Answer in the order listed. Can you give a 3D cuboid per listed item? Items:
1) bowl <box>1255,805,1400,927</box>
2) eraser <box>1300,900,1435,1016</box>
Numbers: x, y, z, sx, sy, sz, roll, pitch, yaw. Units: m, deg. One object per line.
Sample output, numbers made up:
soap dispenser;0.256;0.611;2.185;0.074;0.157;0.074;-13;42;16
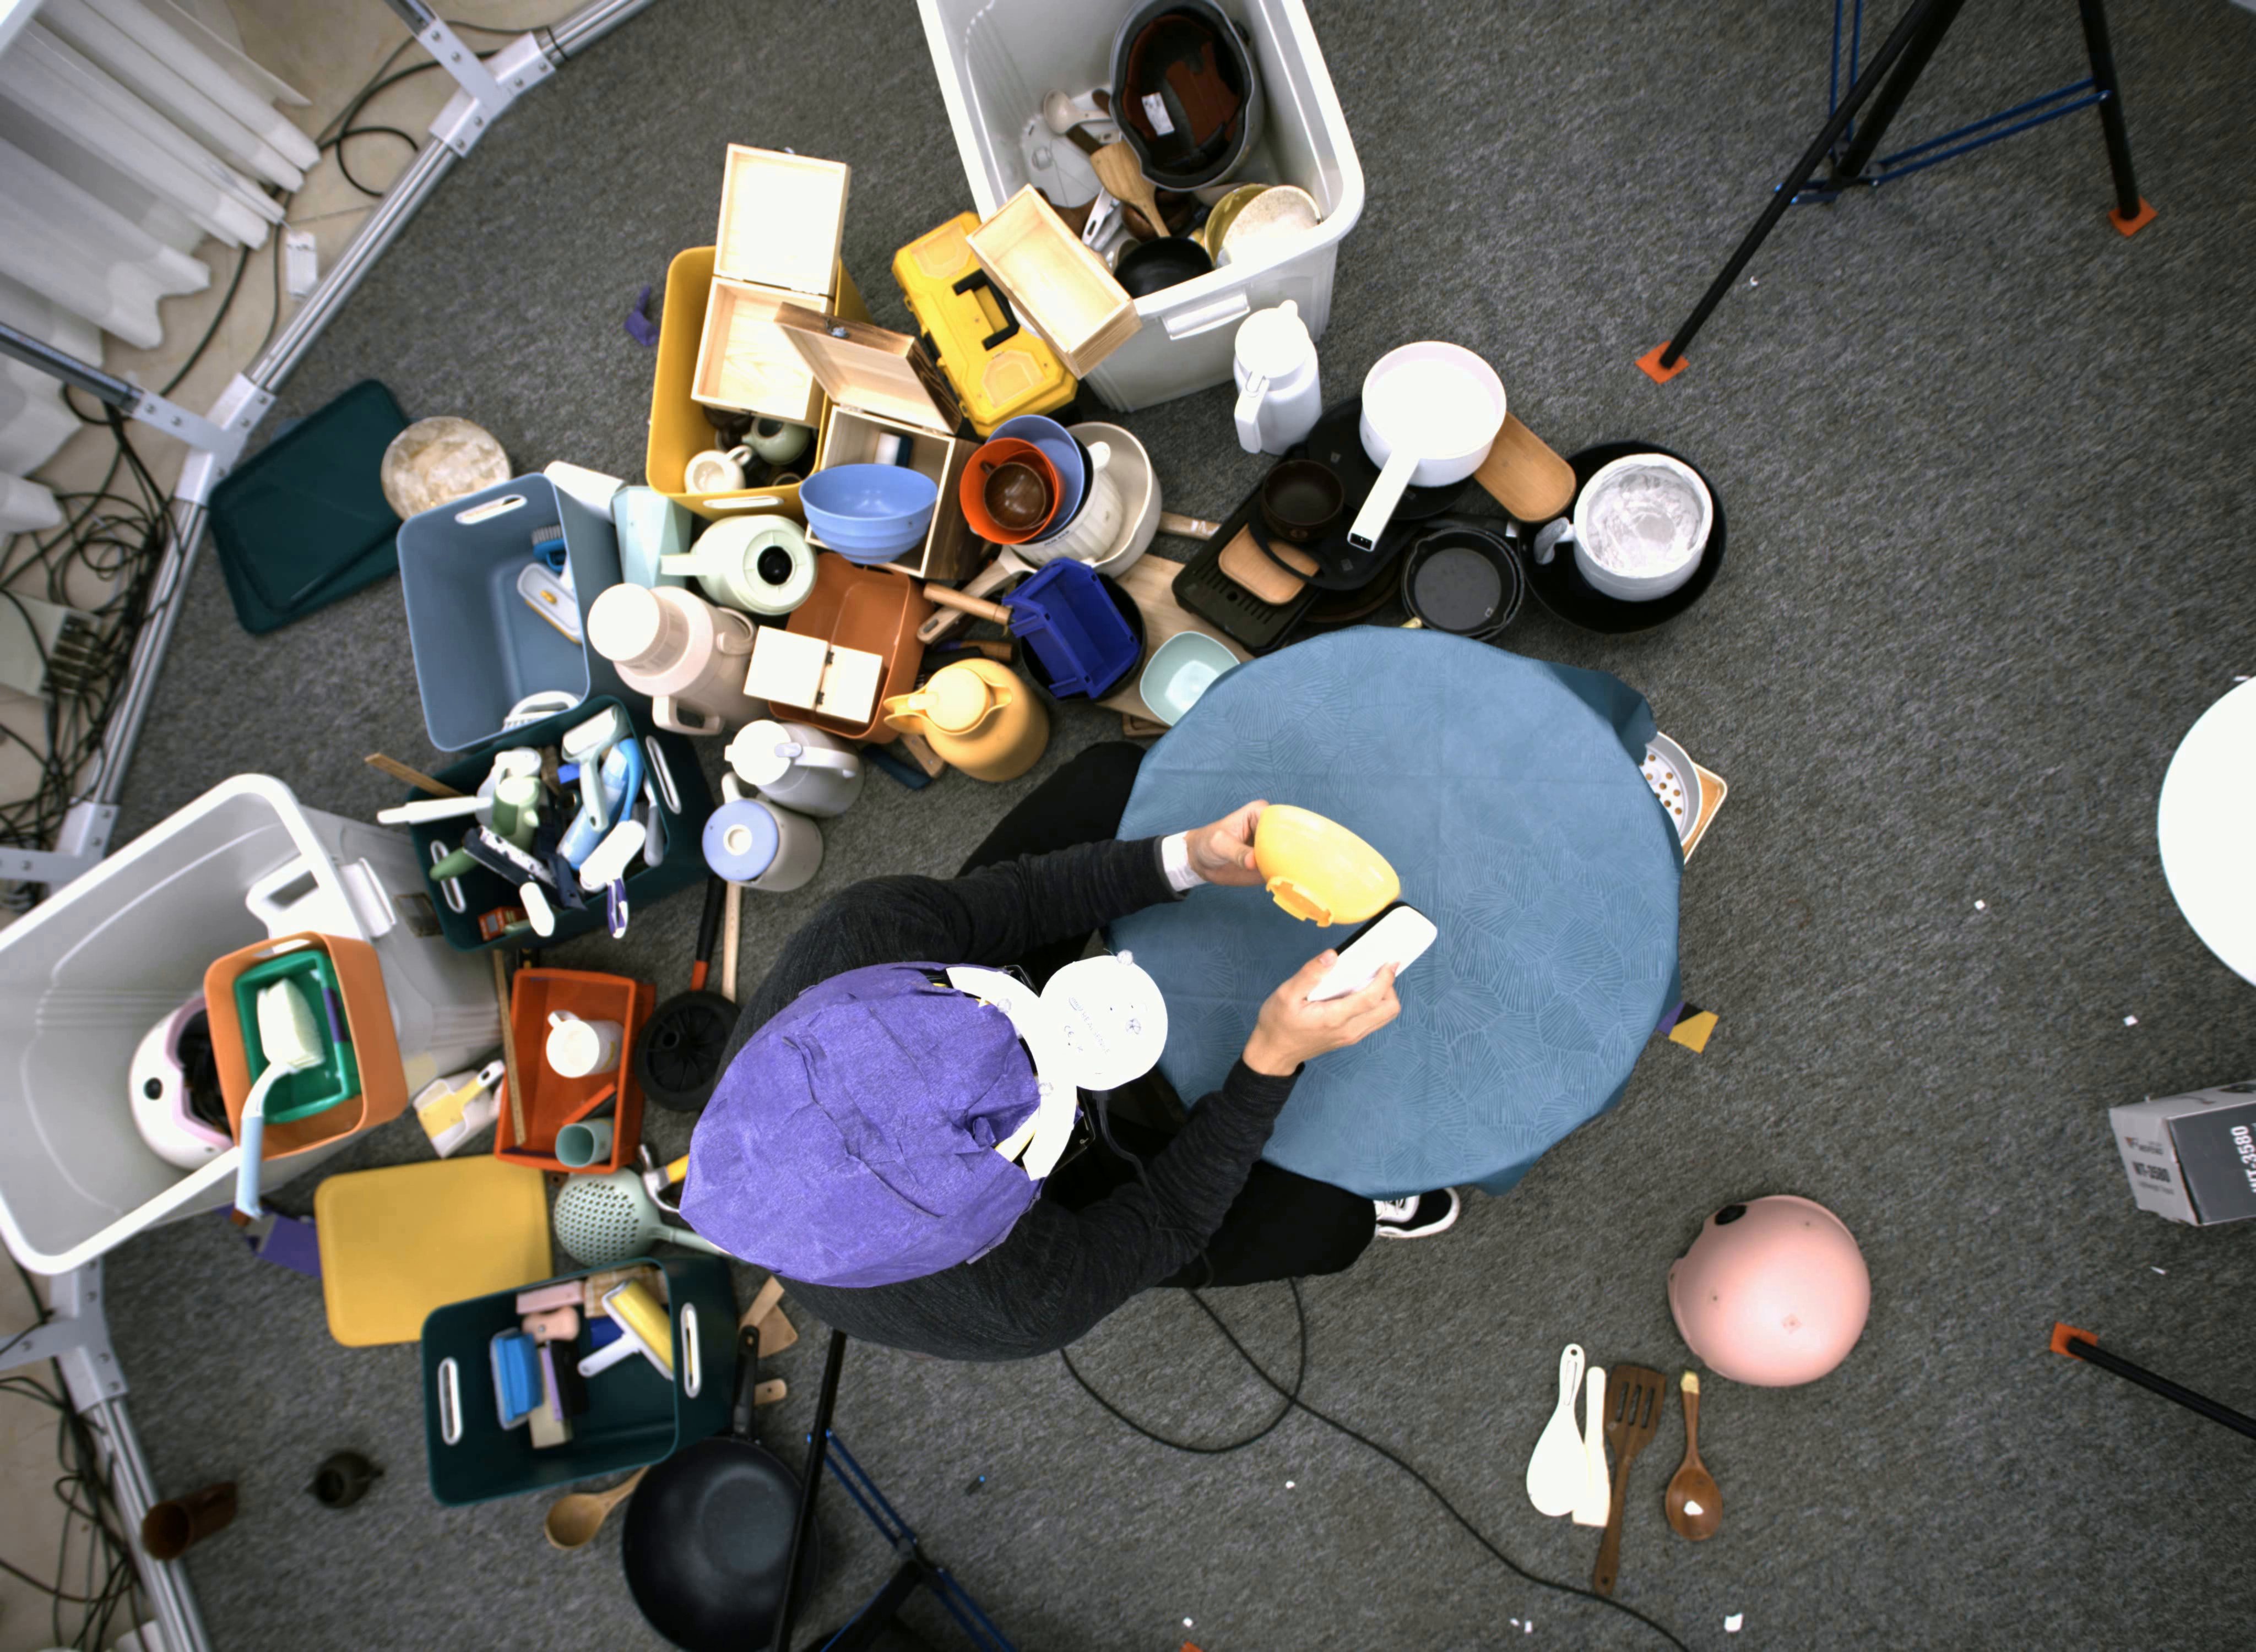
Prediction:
bowl;0.168;0.047;1.245;0.145;0.147;0.059;30;74;11
eraser;0.217;0.122;1.260;0.133;0.064;0.034;-44;48;20
